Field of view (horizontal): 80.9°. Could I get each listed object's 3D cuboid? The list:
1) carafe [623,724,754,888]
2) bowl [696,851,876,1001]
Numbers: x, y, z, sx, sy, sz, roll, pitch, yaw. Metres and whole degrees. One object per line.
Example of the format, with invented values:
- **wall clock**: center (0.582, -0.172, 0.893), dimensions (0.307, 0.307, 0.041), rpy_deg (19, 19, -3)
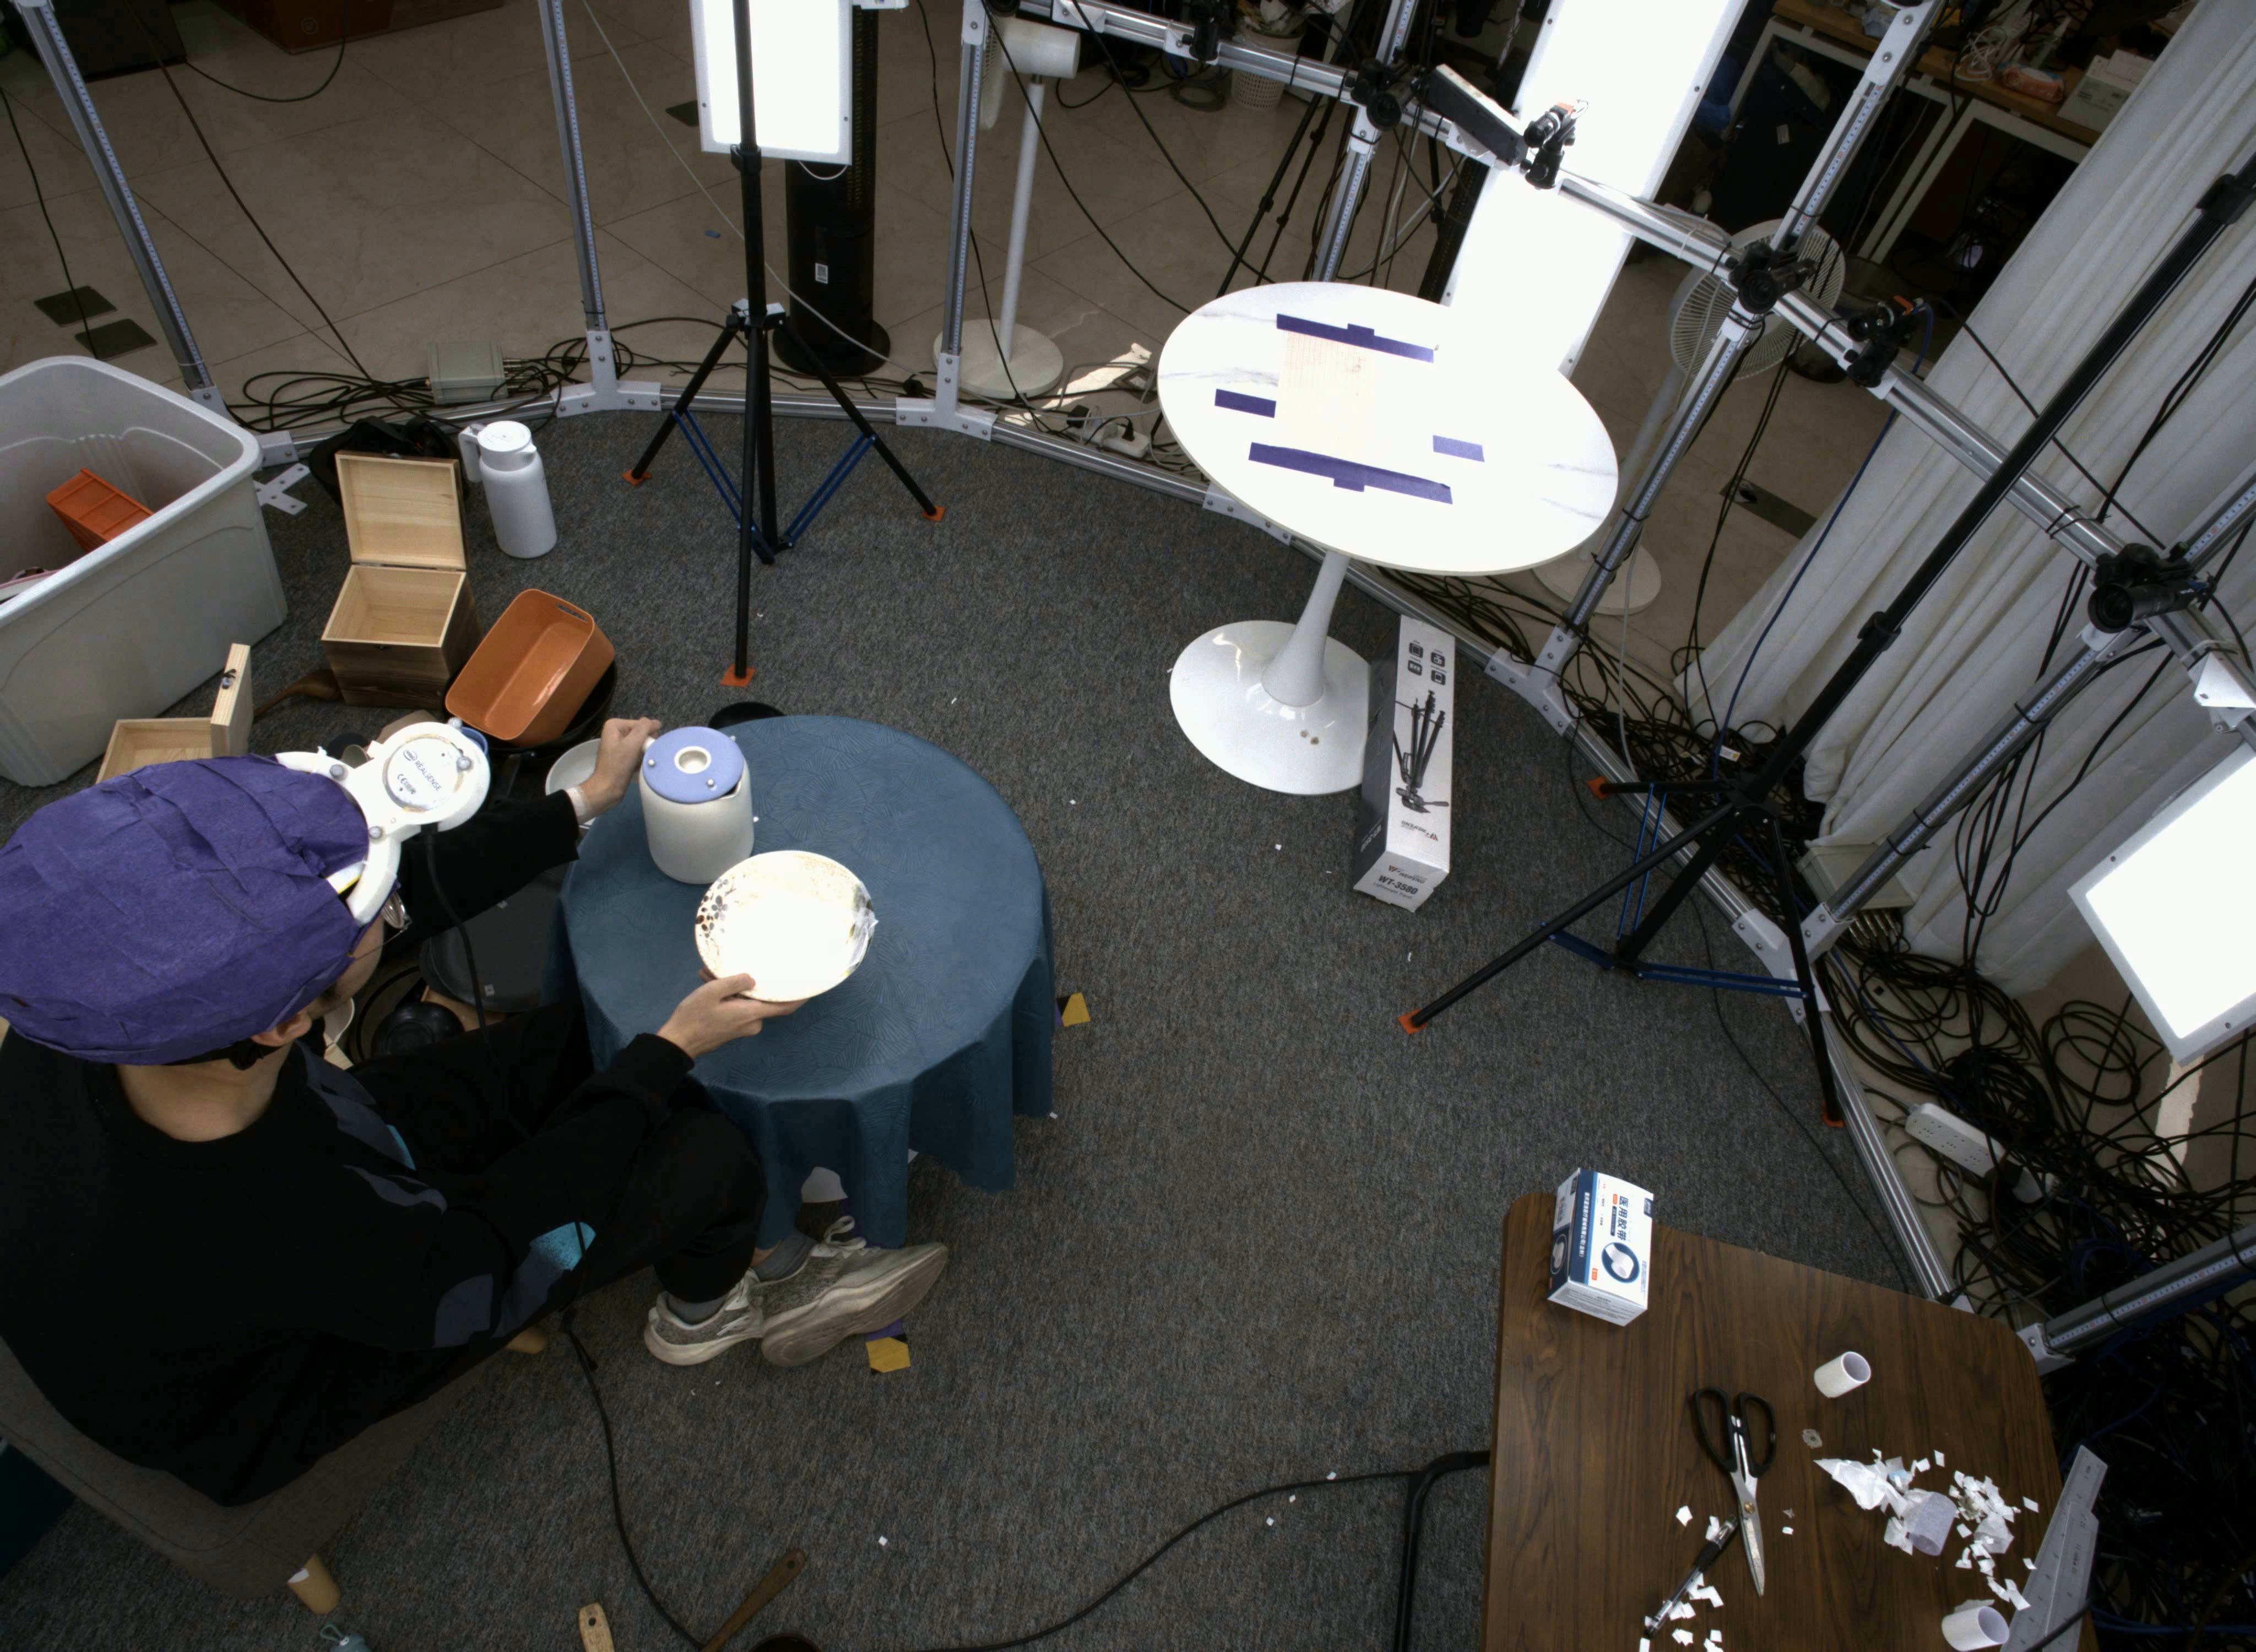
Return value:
- **carafe**: center (-0.559, -0.037, 1.612), dimensions (0.187, 0.187, 0.132), rpy_deg (28, 51, 12)
- **bowl**: center (-0.397, 0.132, 1.521), dimensions (0.203, 0.080, 0.200), rpy_deg (6, 54, -6)
